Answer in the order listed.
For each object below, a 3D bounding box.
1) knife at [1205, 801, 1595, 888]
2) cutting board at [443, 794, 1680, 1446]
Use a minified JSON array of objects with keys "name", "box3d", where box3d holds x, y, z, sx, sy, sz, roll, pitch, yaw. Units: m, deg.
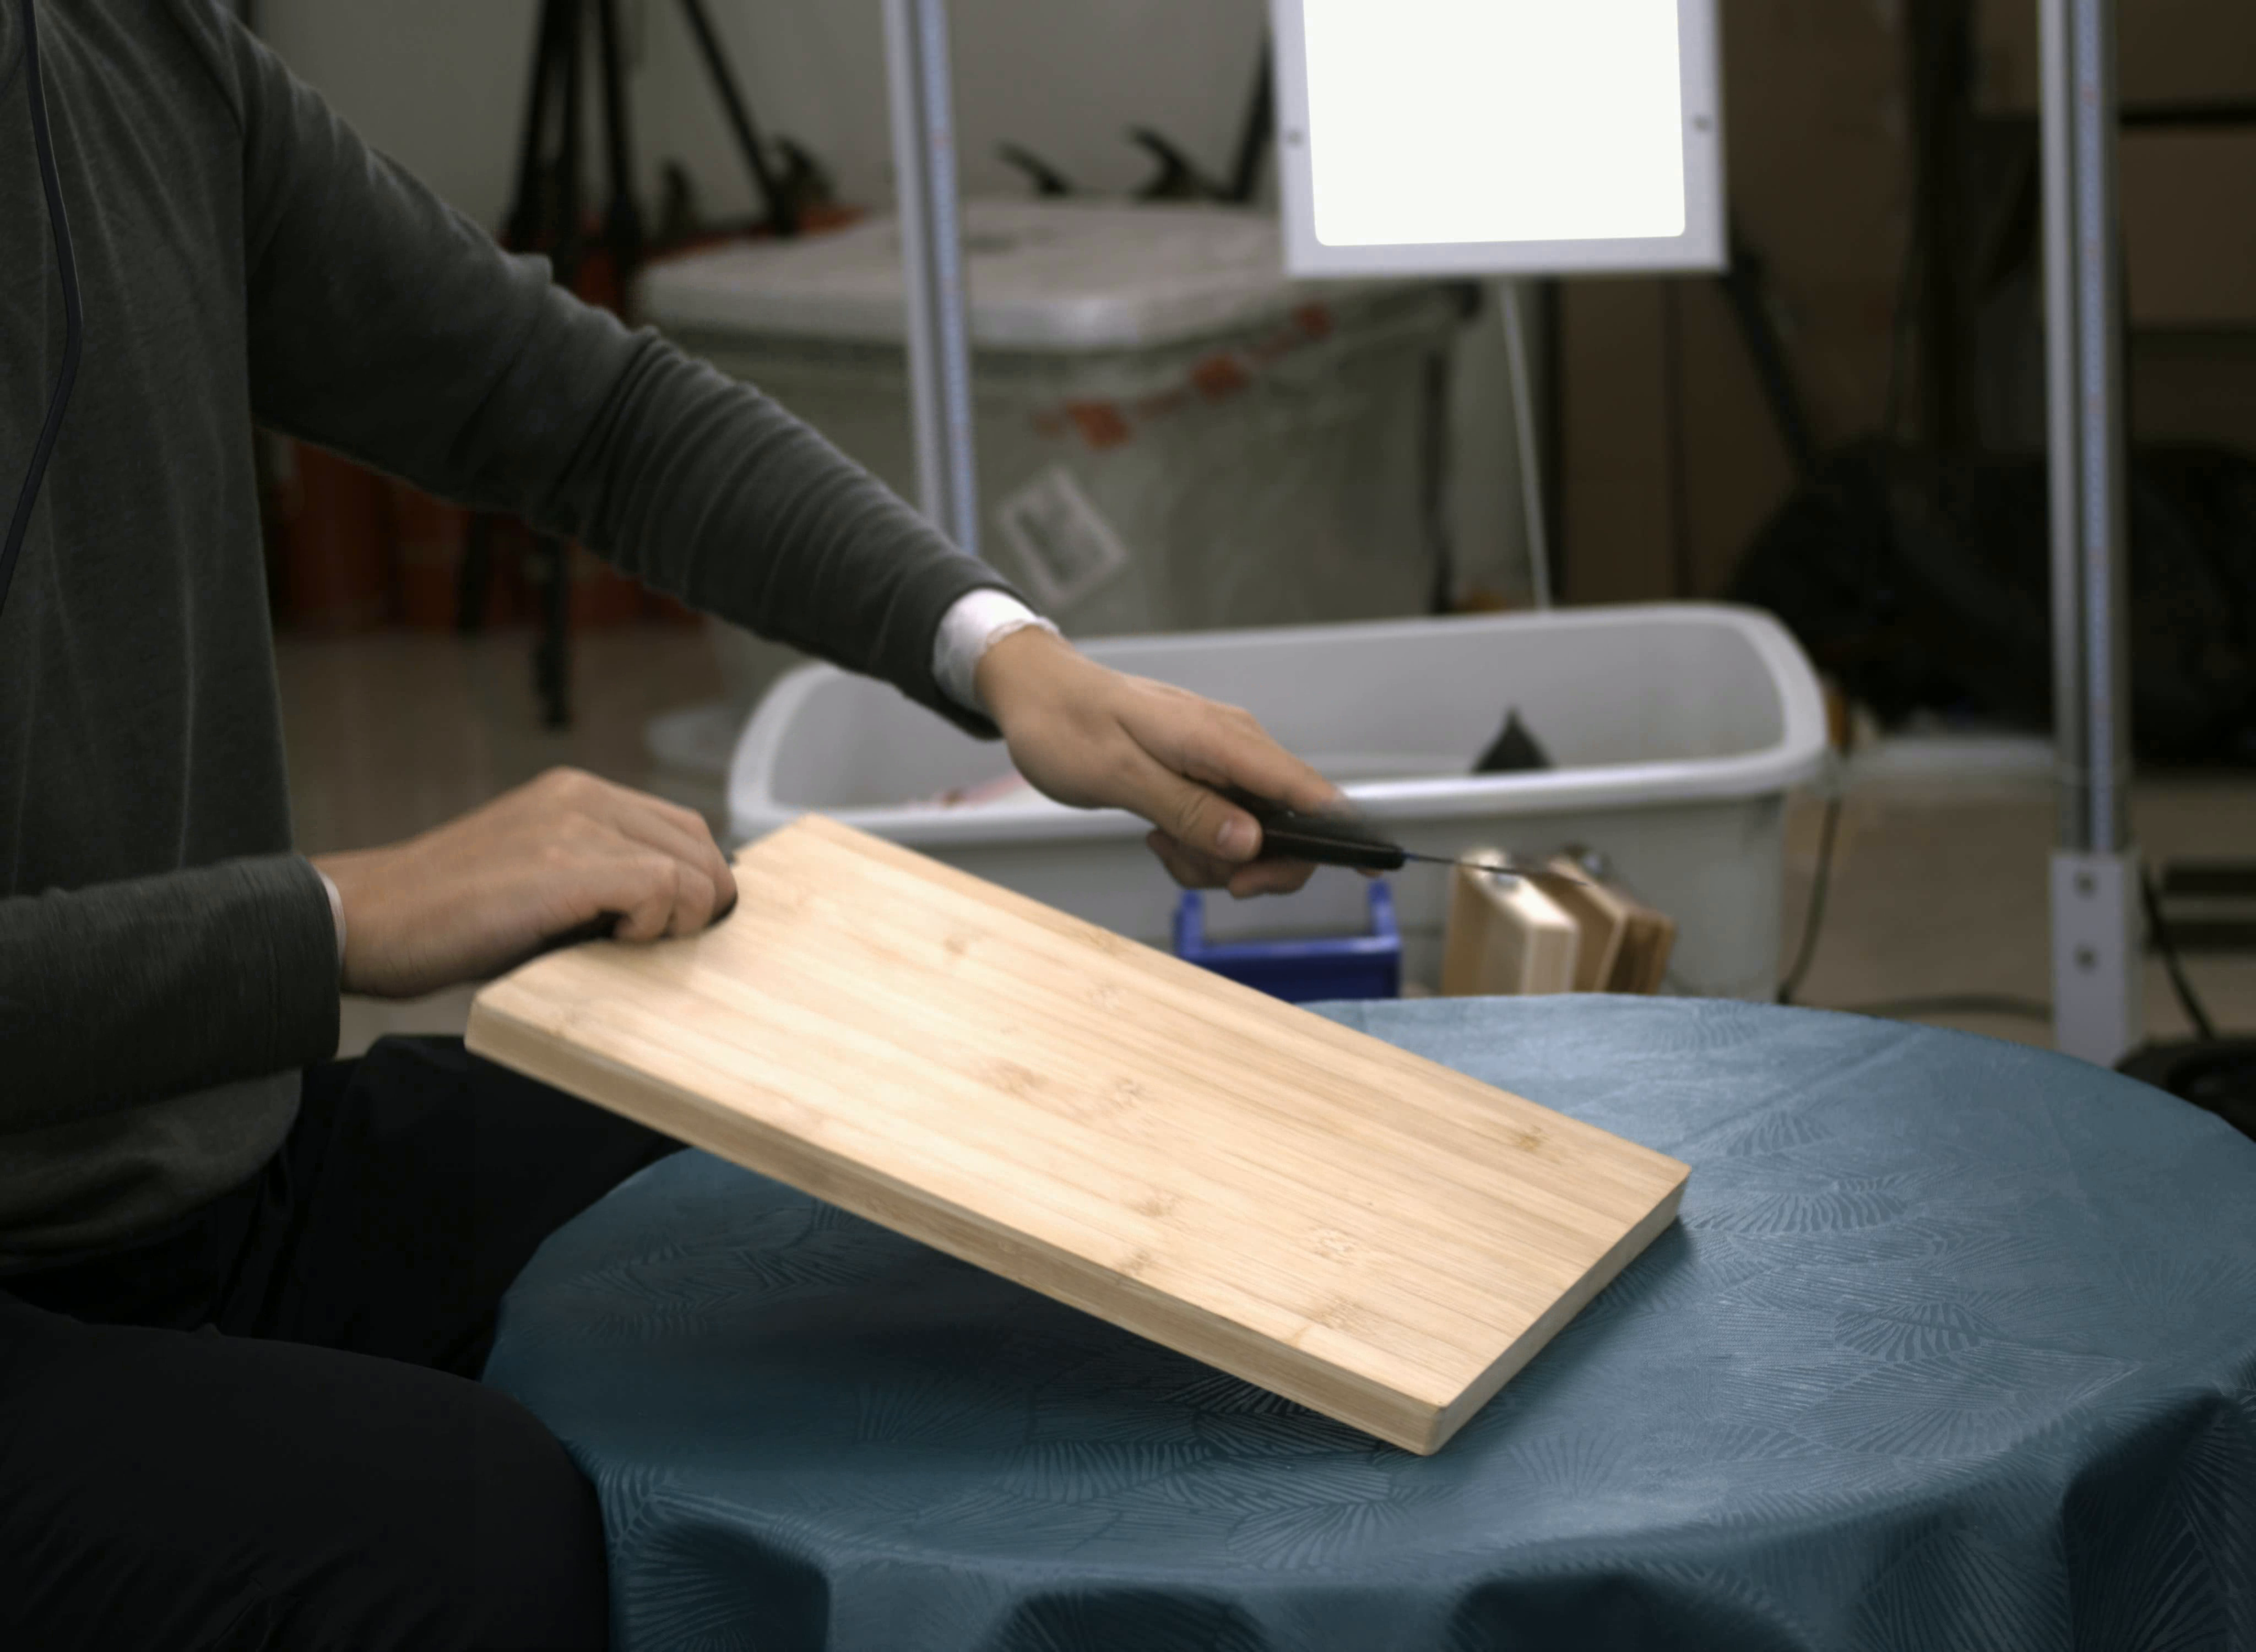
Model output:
[{"name":"knife","box3d":[0.092,0.008,1.919,0.024,0.016,0.242,7,2,-30]},{"name":"cutting board","box3d":[-0.017,0.088,1.783,0.352,0.024,0.246,22,22,18]}]
